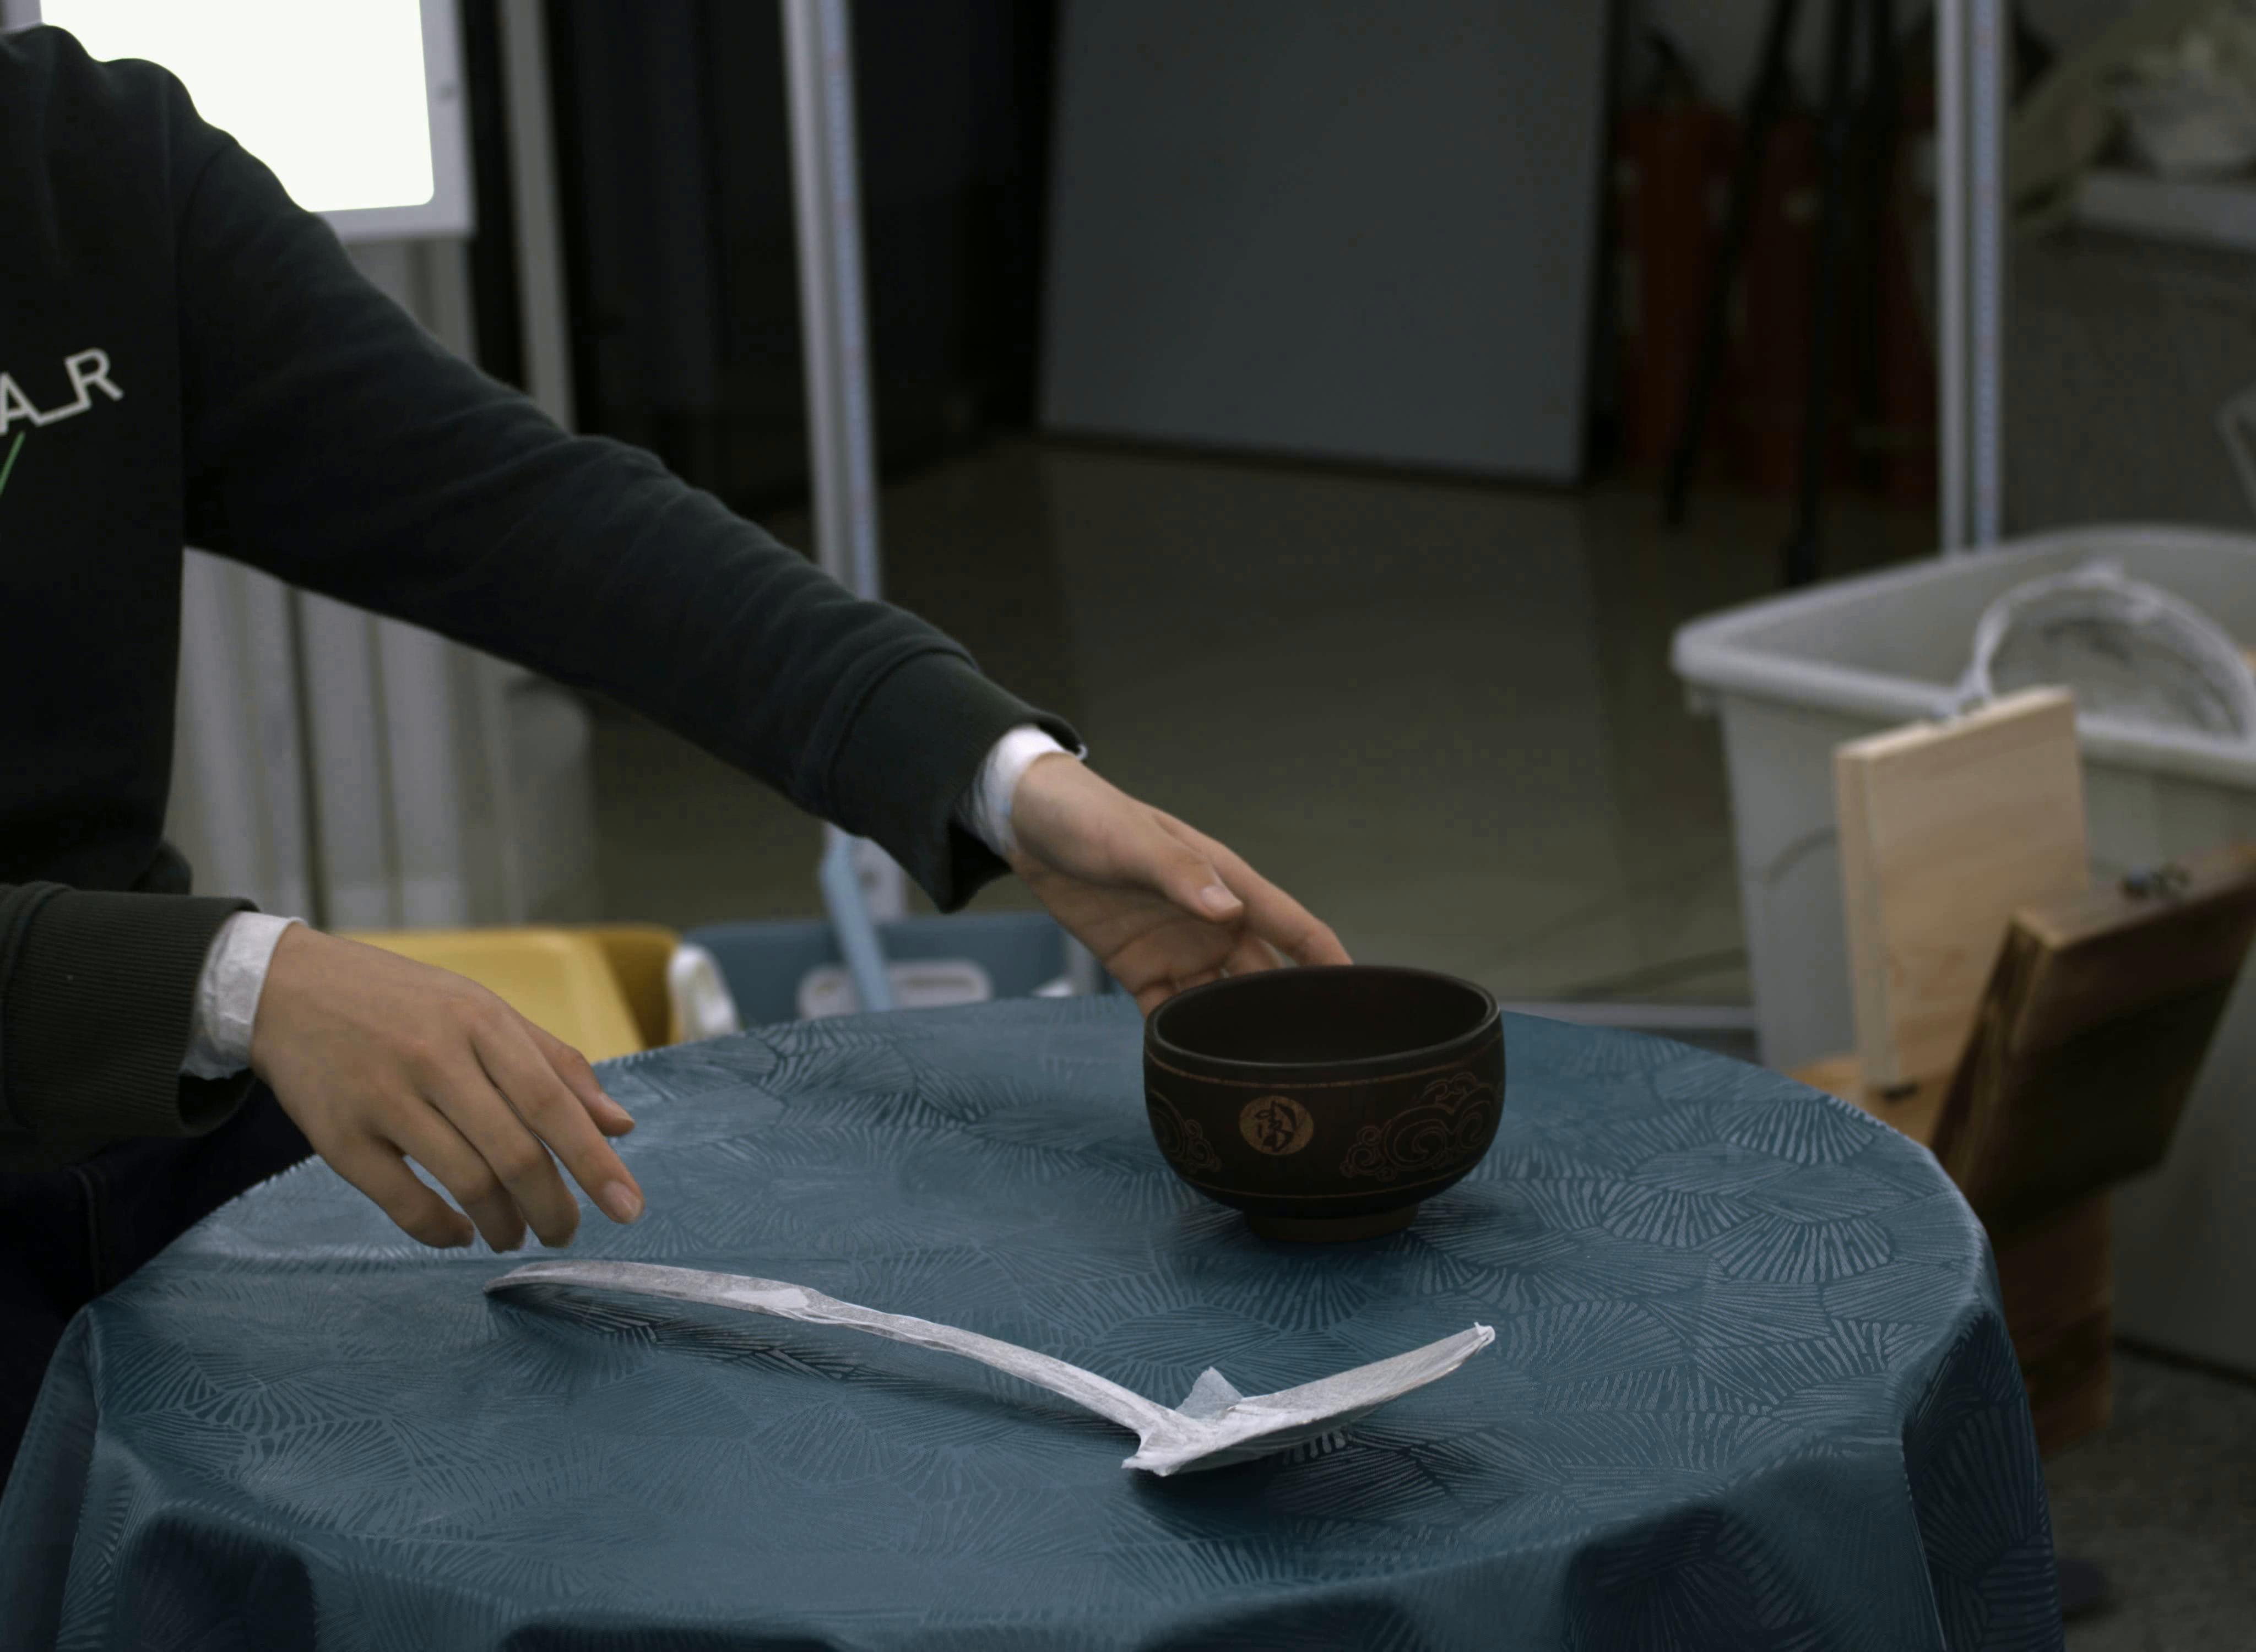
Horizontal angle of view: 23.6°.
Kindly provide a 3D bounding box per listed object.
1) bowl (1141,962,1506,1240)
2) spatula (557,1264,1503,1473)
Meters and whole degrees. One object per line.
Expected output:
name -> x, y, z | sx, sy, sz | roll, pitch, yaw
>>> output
bowl -> 0.063, 0.091, 1.724 | 0.116, 0.070, 0.118 | -3, 12, 0
spatula -> -0.050, 0.148, 1.596 | 0.368, 0.045, 0.097 | 8, 20, 41
